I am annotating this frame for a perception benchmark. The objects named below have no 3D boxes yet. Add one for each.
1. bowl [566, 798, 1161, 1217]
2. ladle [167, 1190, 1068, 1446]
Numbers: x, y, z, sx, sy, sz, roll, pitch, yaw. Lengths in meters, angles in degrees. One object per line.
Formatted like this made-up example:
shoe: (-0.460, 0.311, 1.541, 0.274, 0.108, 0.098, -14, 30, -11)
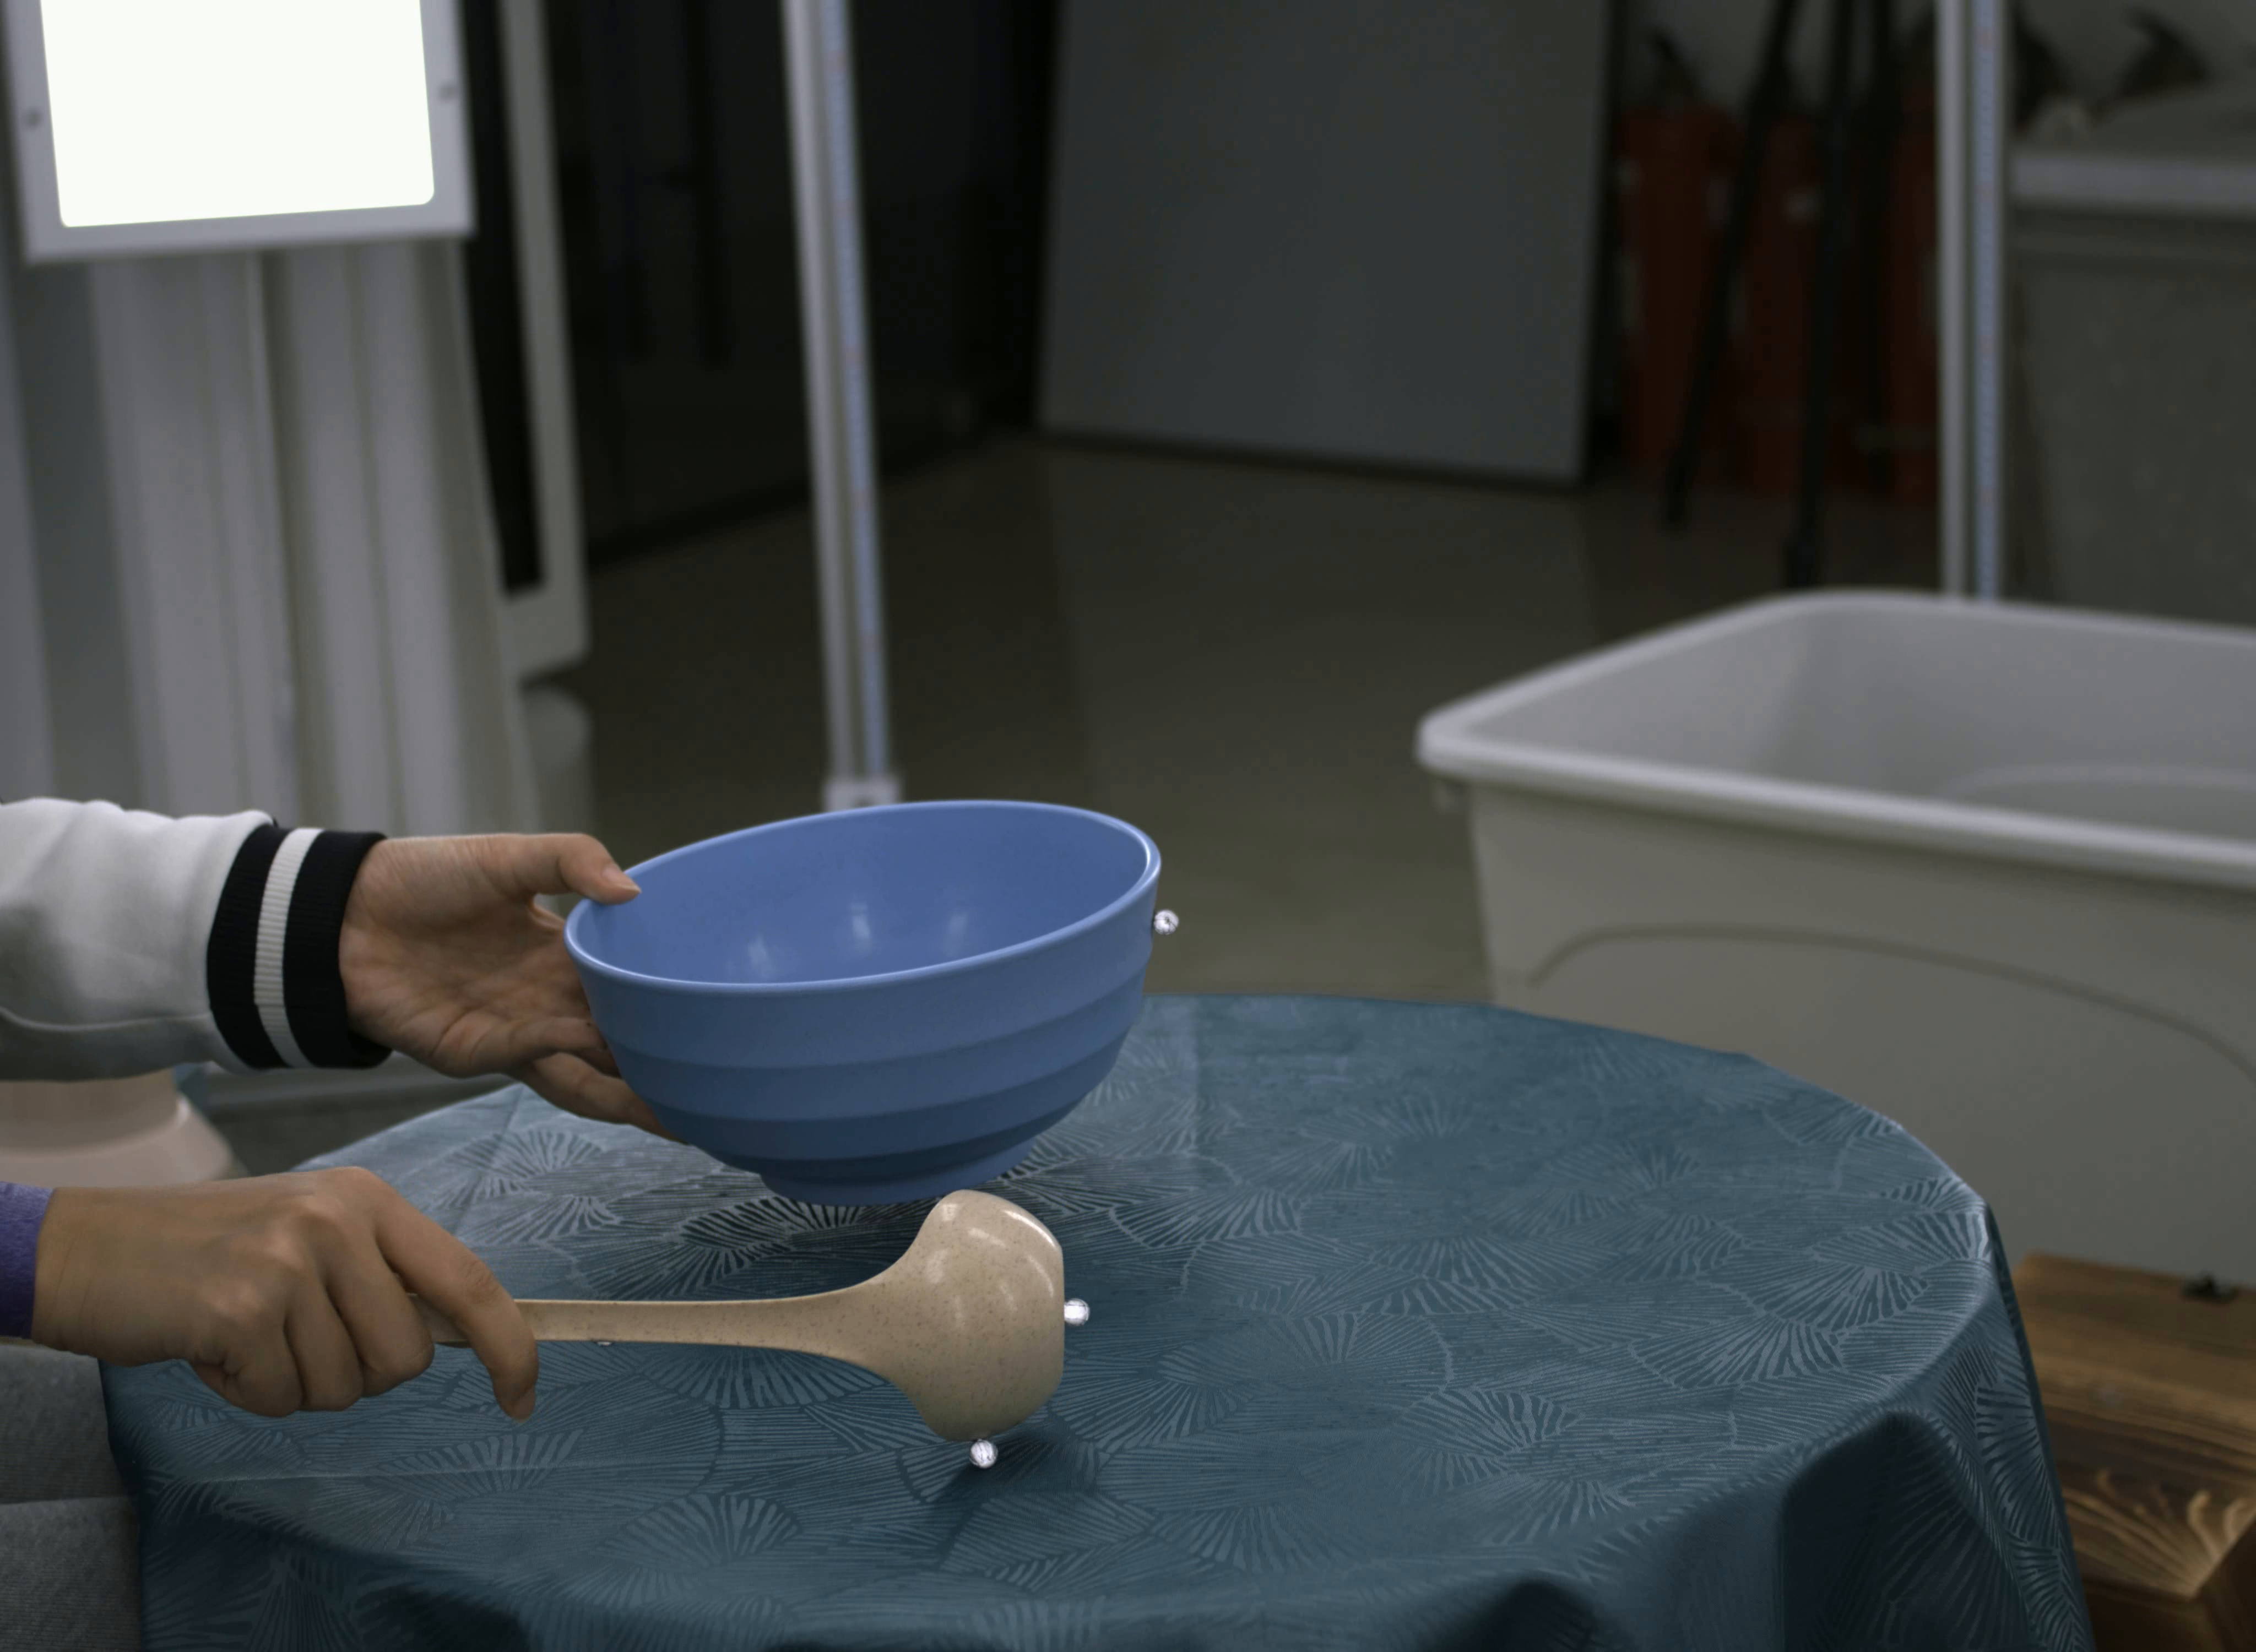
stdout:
bowl: (-0.081, 0.066, 1.761, 0.194, 0.096, 0.197, -7, 17, 1)
ladle: (-0.142, 0.137, 1.543, 0.251, 0.073, 0.072, 2, -4, 4)
